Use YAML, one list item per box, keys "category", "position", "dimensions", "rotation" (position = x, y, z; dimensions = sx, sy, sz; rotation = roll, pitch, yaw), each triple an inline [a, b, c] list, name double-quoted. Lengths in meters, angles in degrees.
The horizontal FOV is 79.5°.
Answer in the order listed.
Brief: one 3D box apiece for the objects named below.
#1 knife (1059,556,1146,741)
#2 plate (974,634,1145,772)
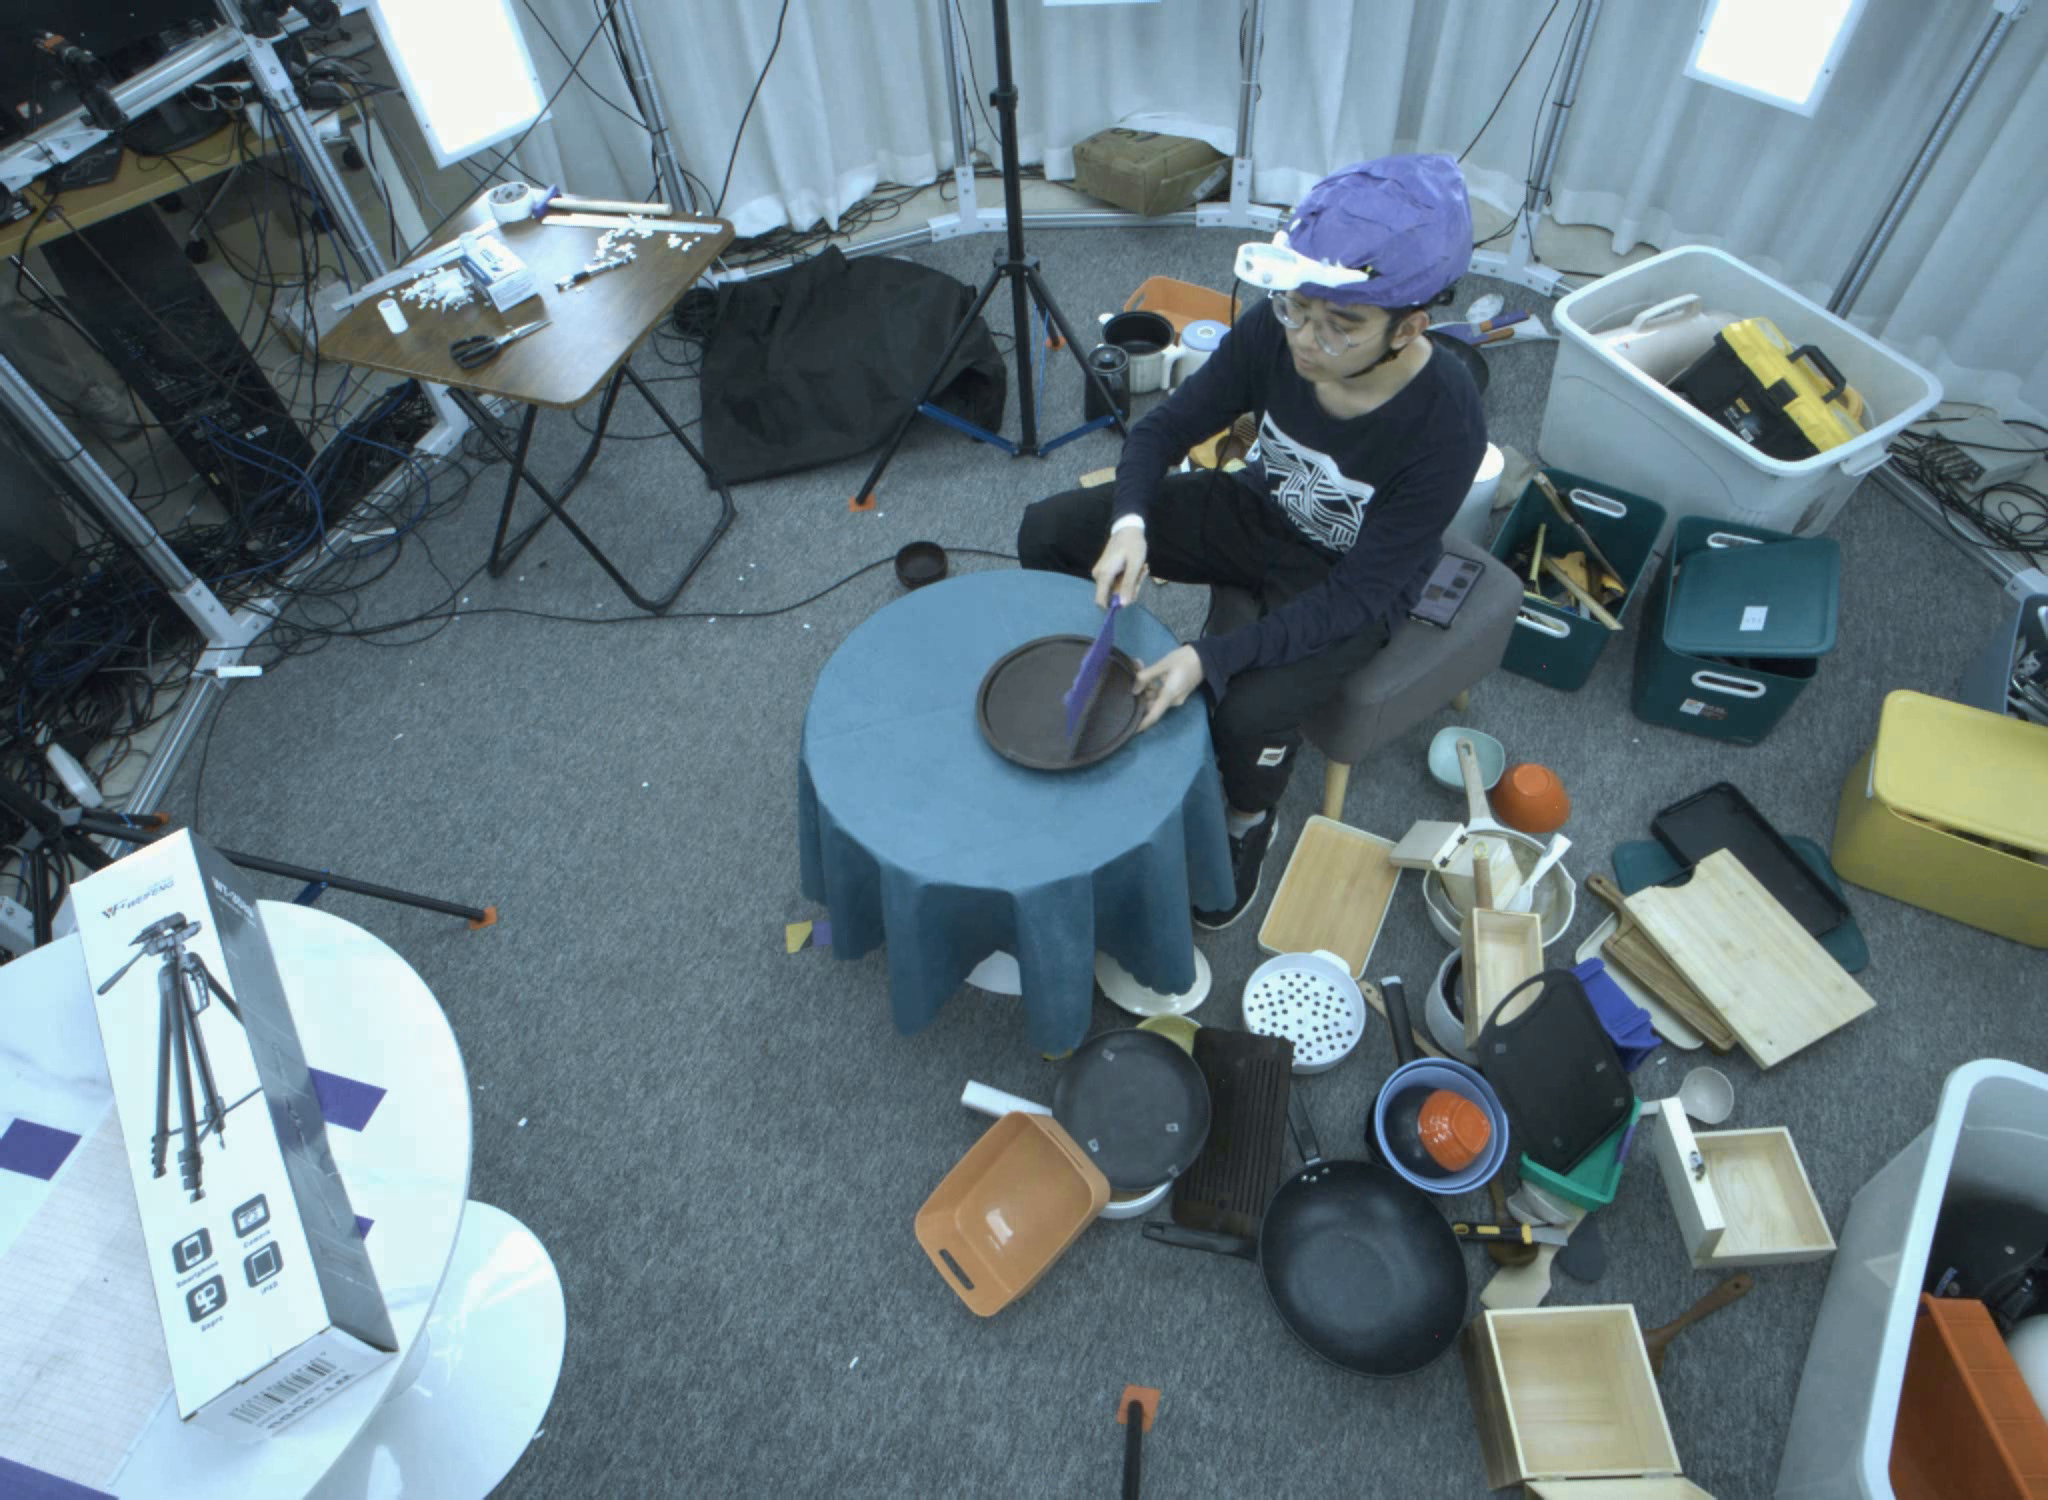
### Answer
- category: "knife"
  position: [0.111, -0.150, 1.794]
  dimensions: [0.032, 0.105, 0.315]
  rotation: [19, 56, 13]
- category: "plate"
  position: [0.052, -0.071, 1.821]
  dimensions: [0.254, 0.029, 0.252]
  rotation: [-3, 55, 5]
